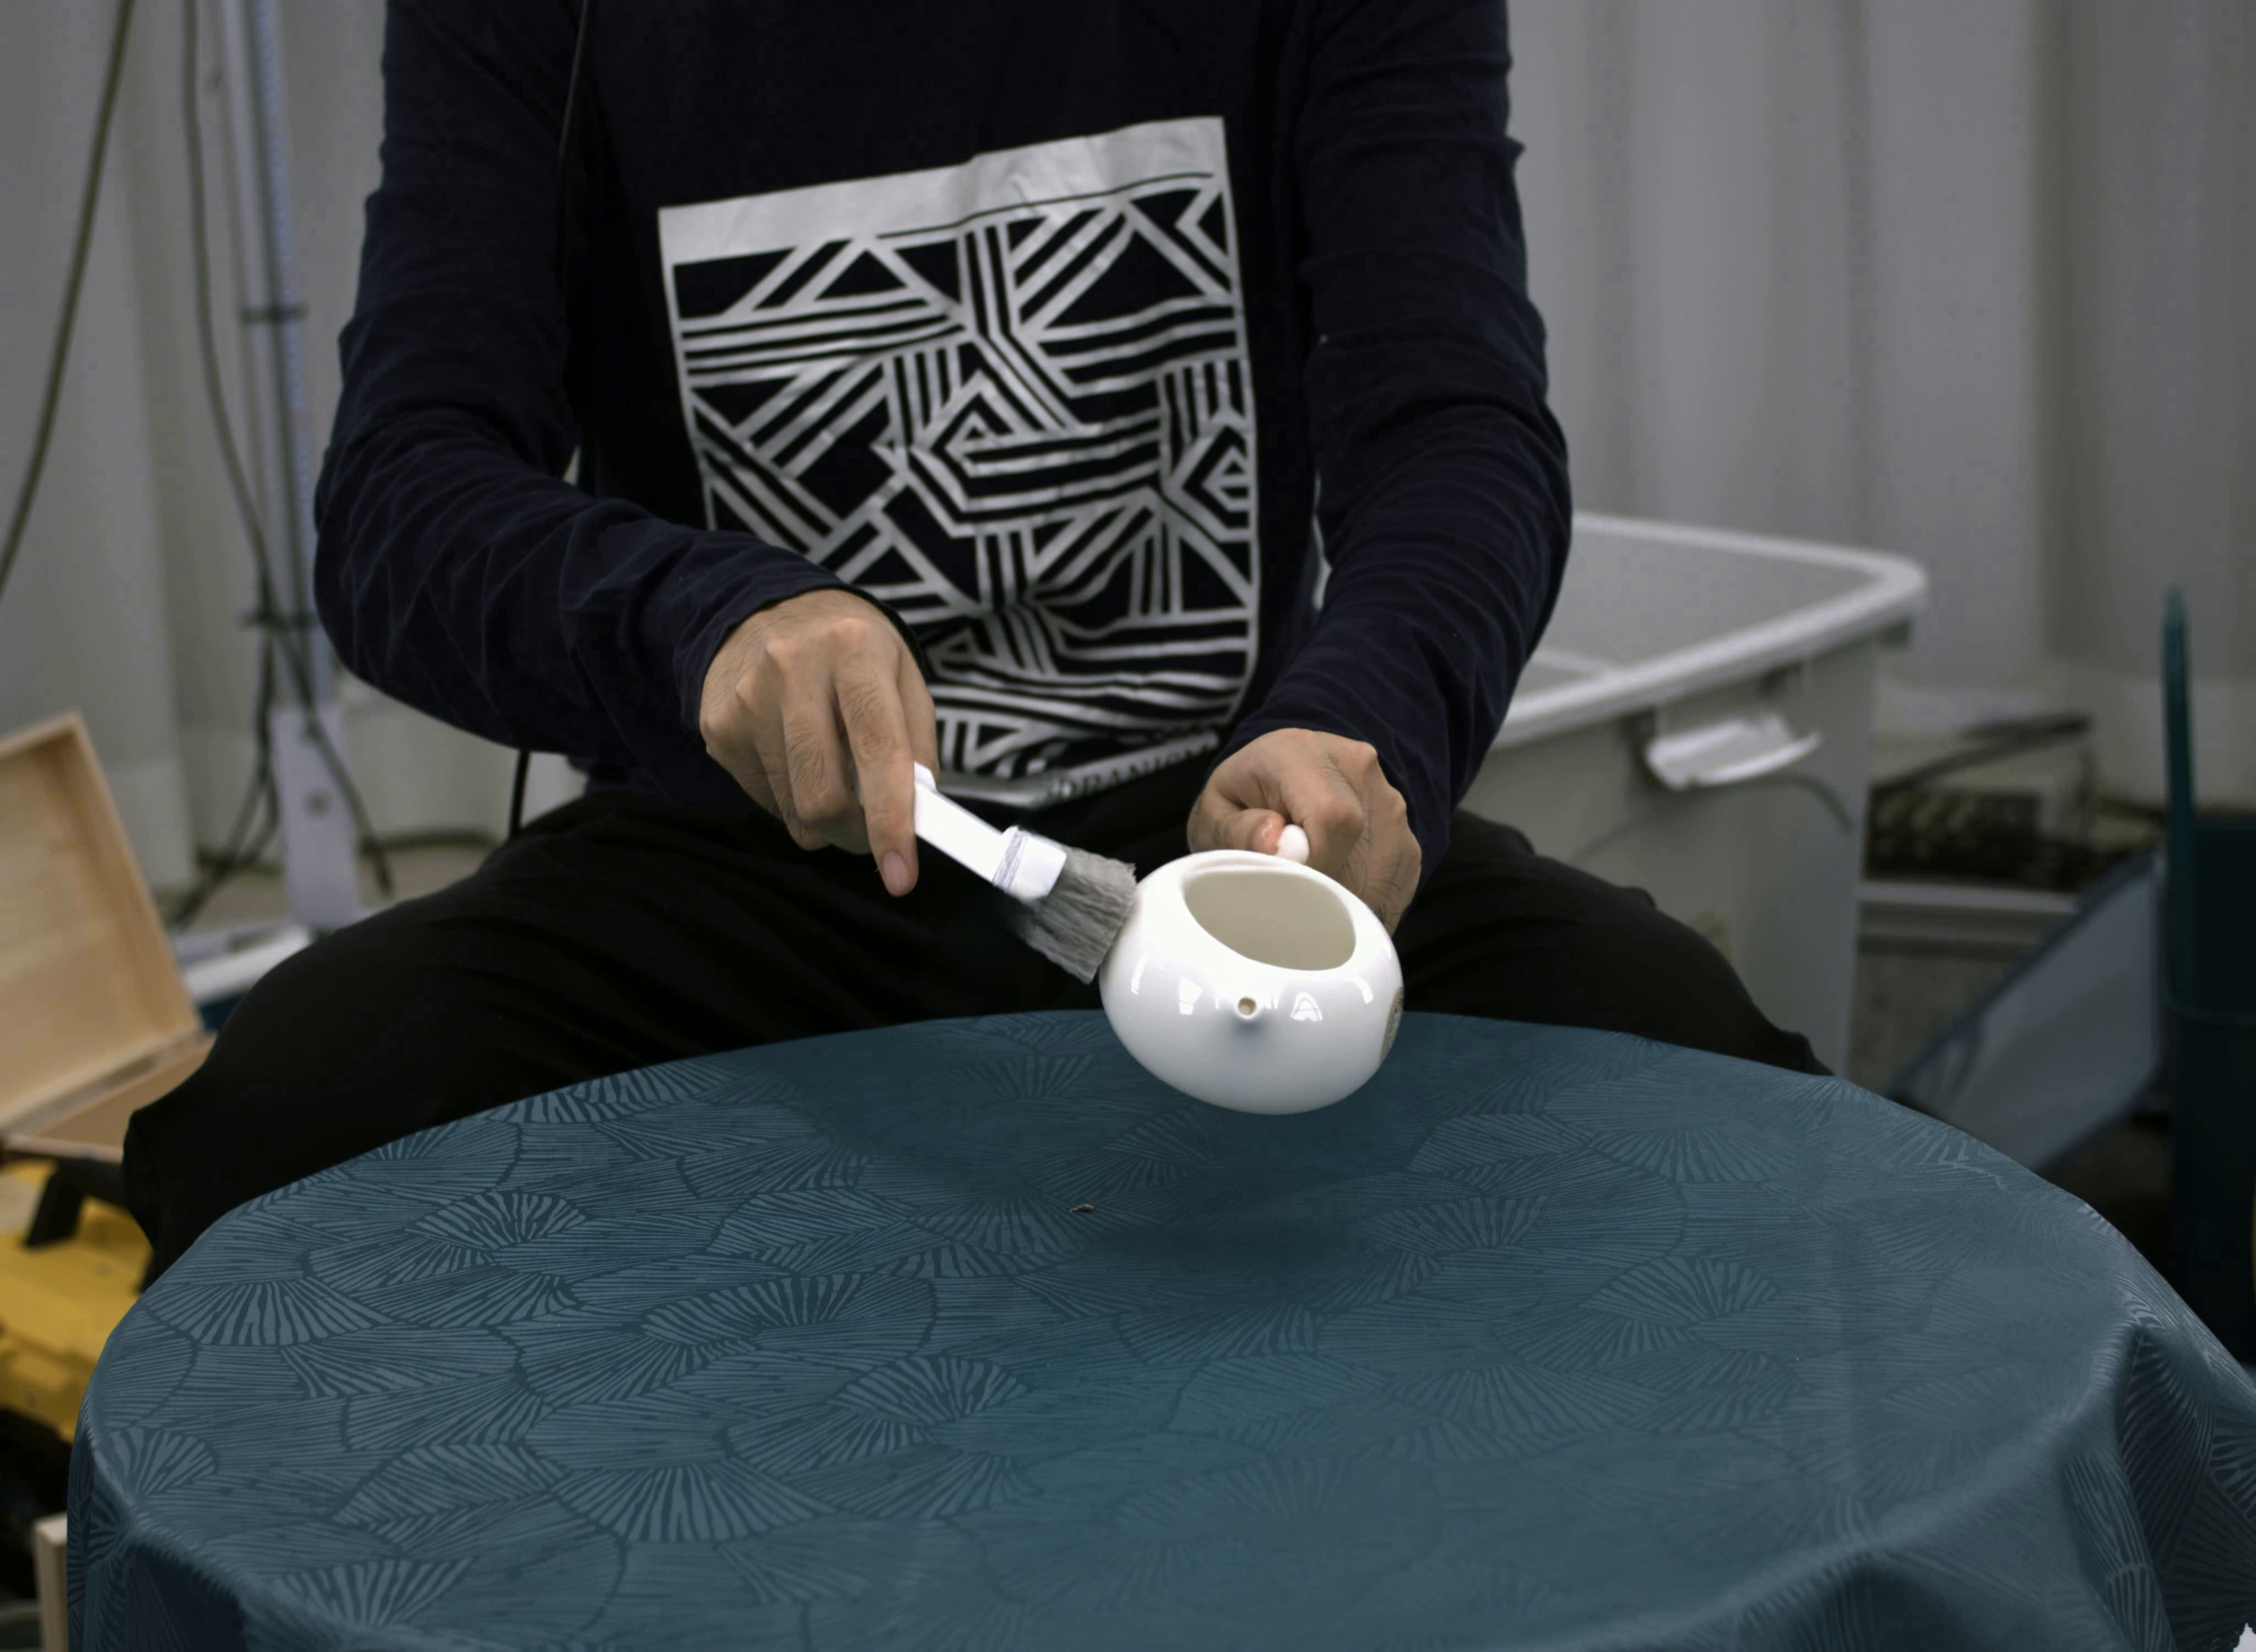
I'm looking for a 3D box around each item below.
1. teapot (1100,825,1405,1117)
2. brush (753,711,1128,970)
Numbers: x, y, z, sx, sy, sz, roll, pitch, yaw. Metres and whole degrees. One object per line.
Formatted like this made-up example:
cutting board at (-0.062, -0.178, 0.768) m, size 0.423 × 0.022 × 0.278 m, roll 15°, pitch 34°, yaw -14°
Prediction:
teapot at (0.039, 0.043, 1.663) m, size 0.093 × 0.056 × 0.129 m, roll 13°, pitch 30°, yaw -1°
brush at (-0.059, 0.002, 1.736) m, size 0.050 × 0.034 × 0.245 m, roll 21°, pitch 3°, yaw -26°
